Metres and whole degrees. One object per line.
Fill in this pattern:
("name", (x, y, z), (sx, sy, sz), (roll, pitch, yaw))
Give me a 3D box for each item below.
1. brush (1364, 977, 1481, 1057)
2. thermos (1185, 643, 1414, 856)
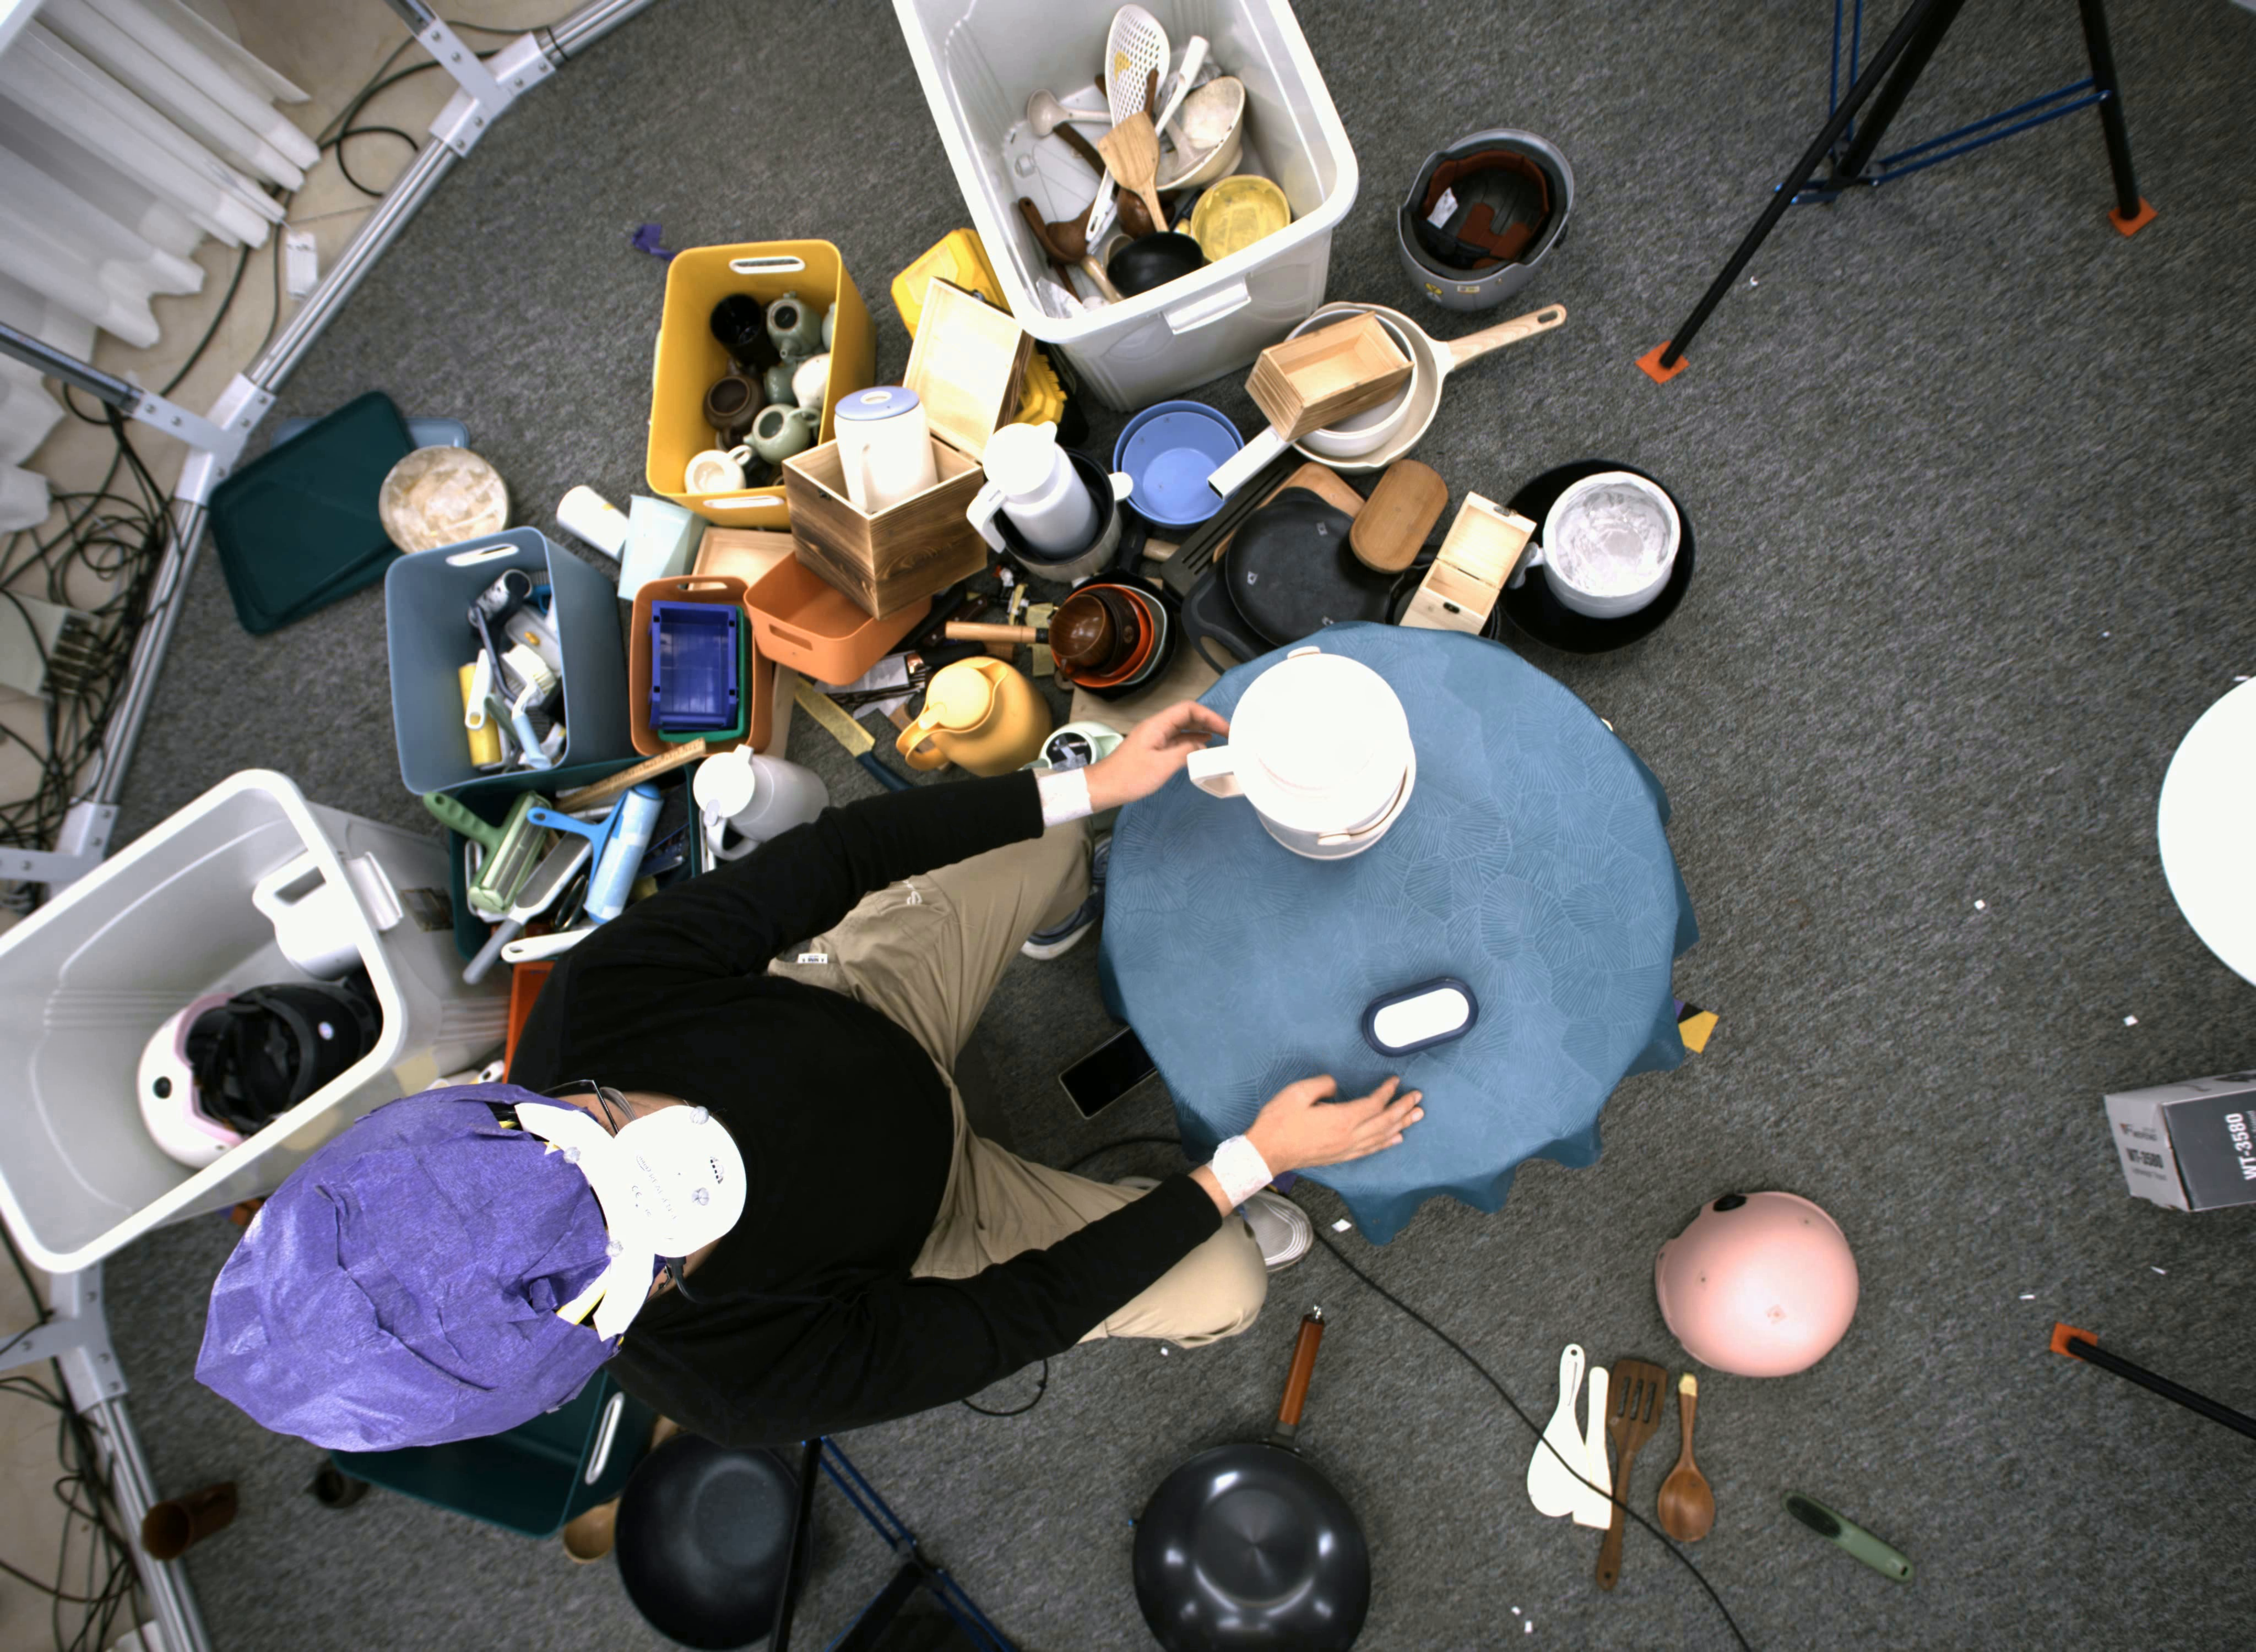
("brush", (0.303, 0.194, 1.420), (0.122, 0.061, 0.067), (-17, 82, 8))
("thermos", (0.165, -0.065, 1.286), (0.208, 0.406, 0.174), (-10, 84, 8))
